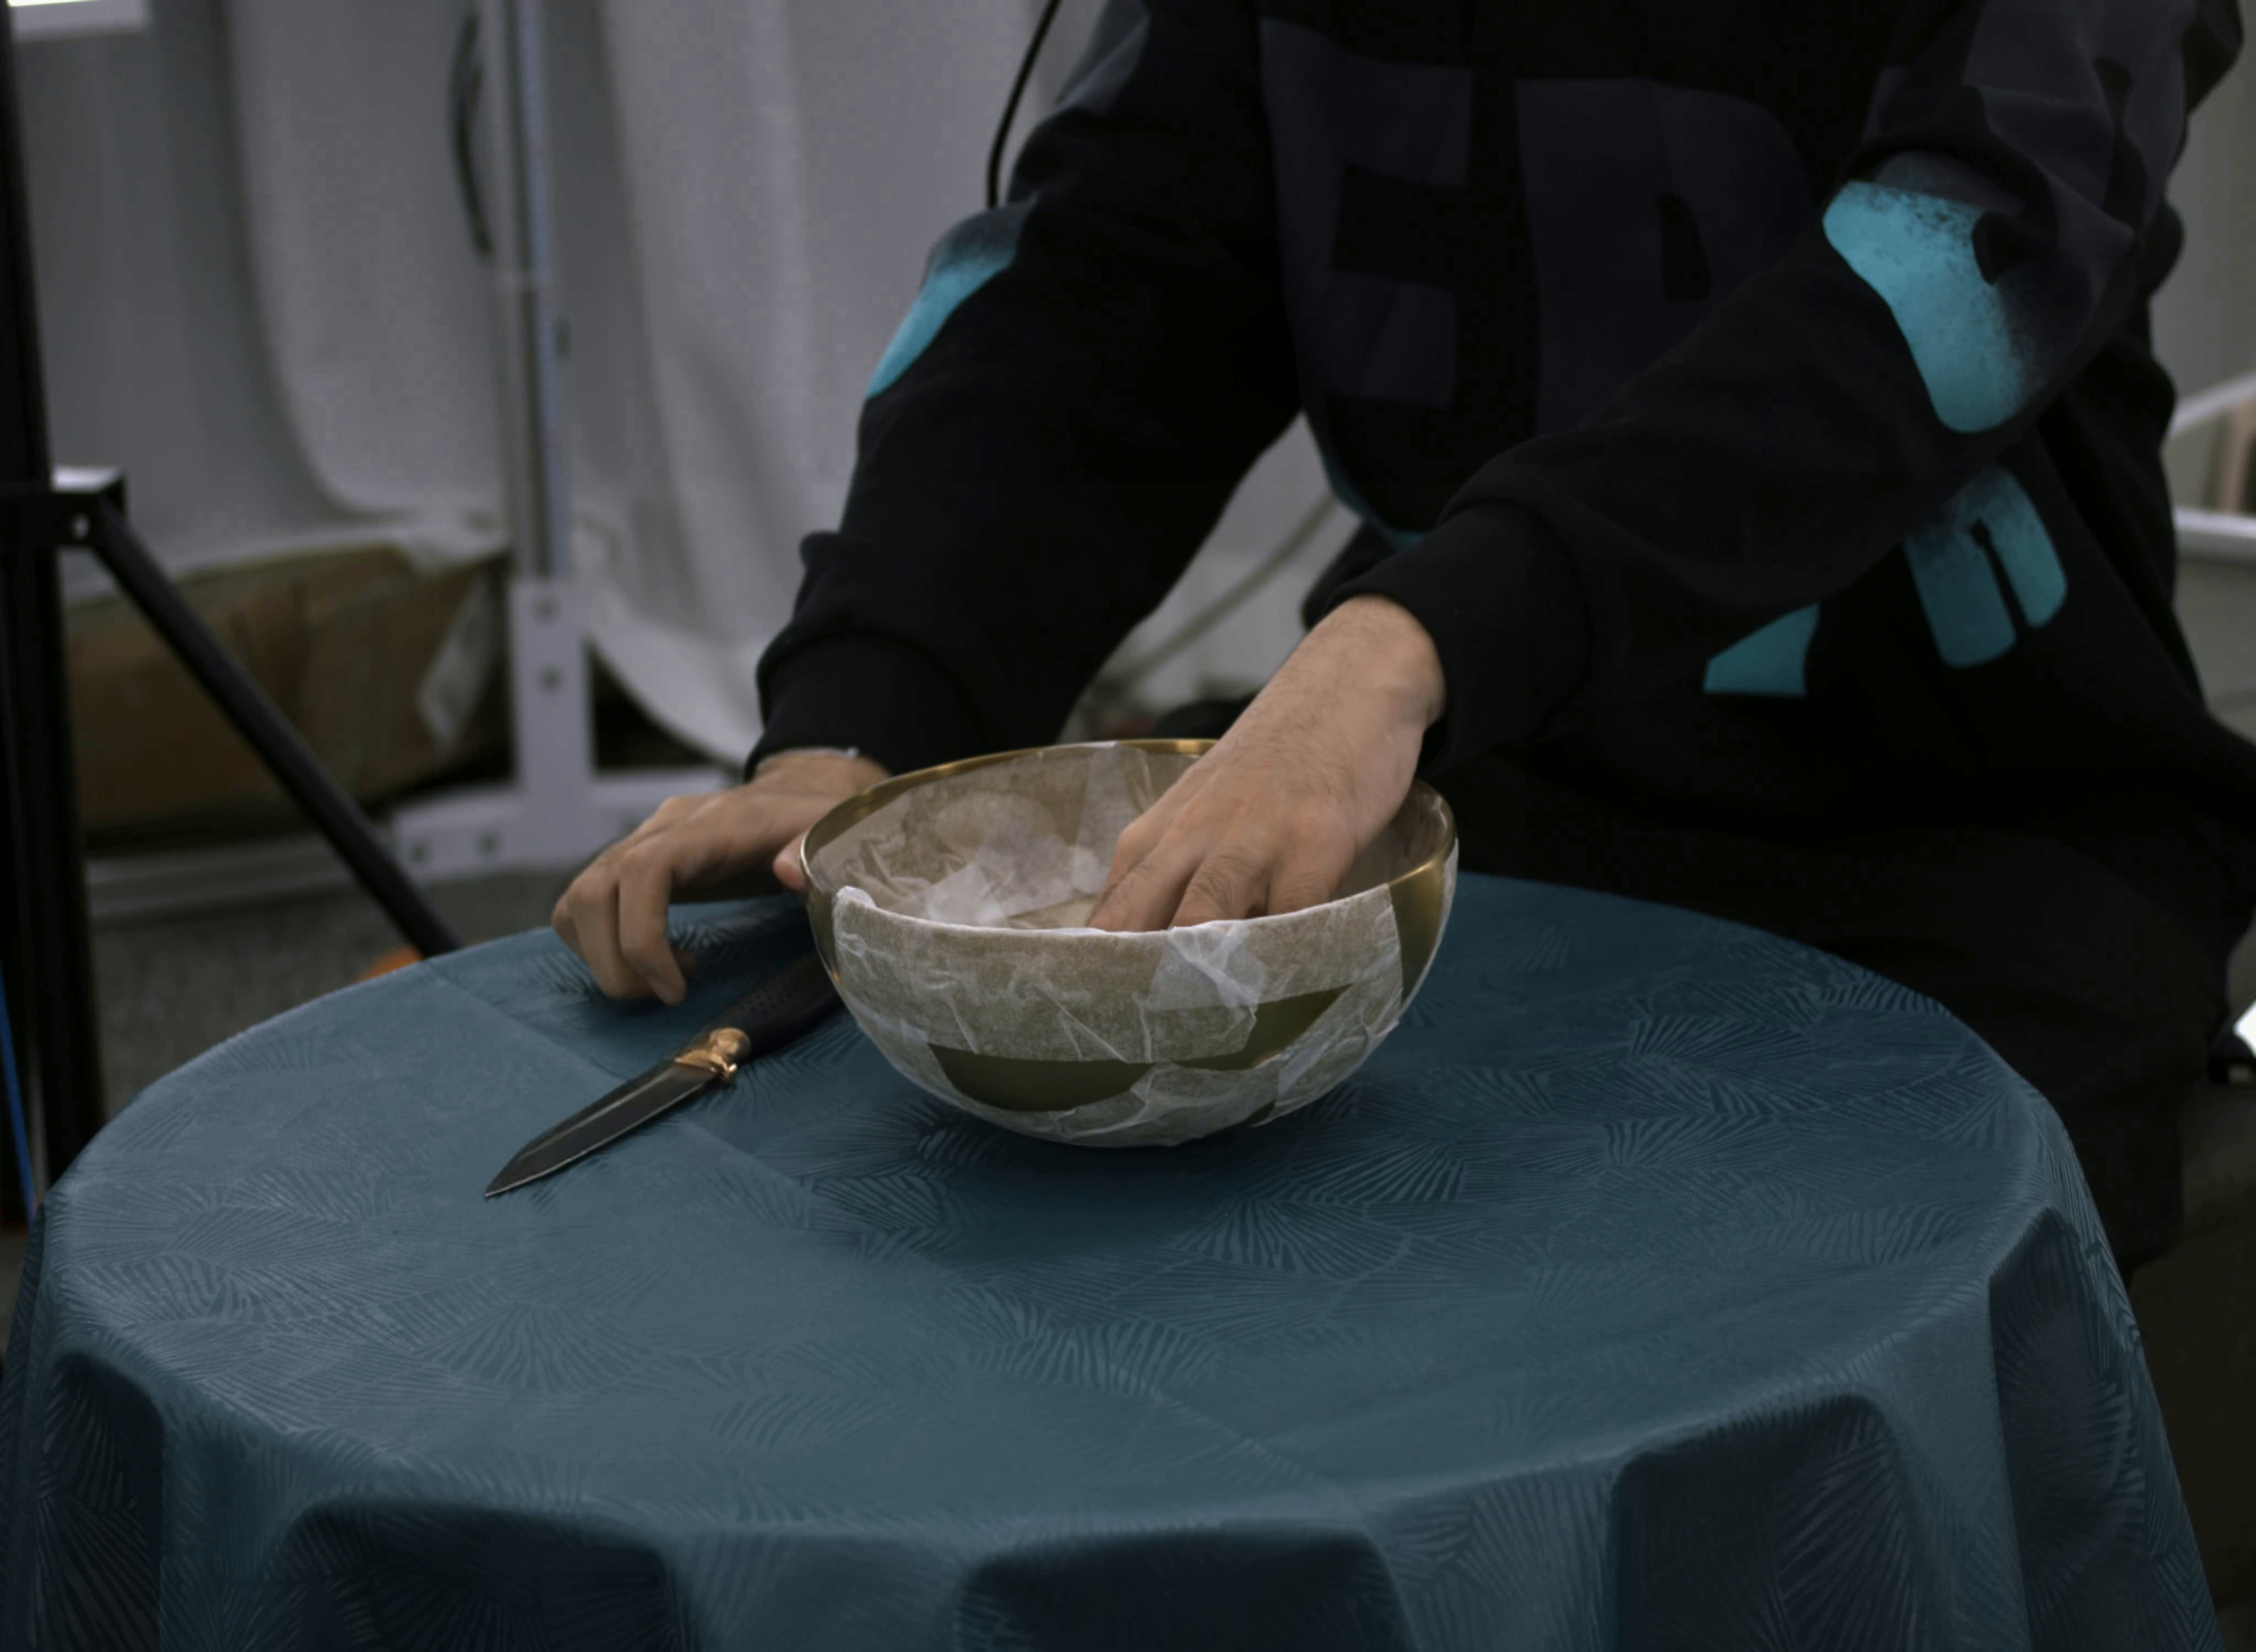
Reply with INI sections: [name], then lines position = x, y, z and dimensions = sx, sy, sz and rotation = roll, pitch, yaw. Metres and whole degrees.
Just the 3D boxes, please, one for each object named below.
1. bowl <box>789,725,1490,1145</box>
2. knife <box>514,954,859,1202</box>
[bowl]
position = 0.005, 0.042, 1.616
dimensions = 0.213, 0.094, 0.216
rotation = -4, 16, 0
[knife]
position = -0.136, 0.078, 1.670
dimensions = 0.026, 0.017, 0.222
rotation = 12, 21, 24
